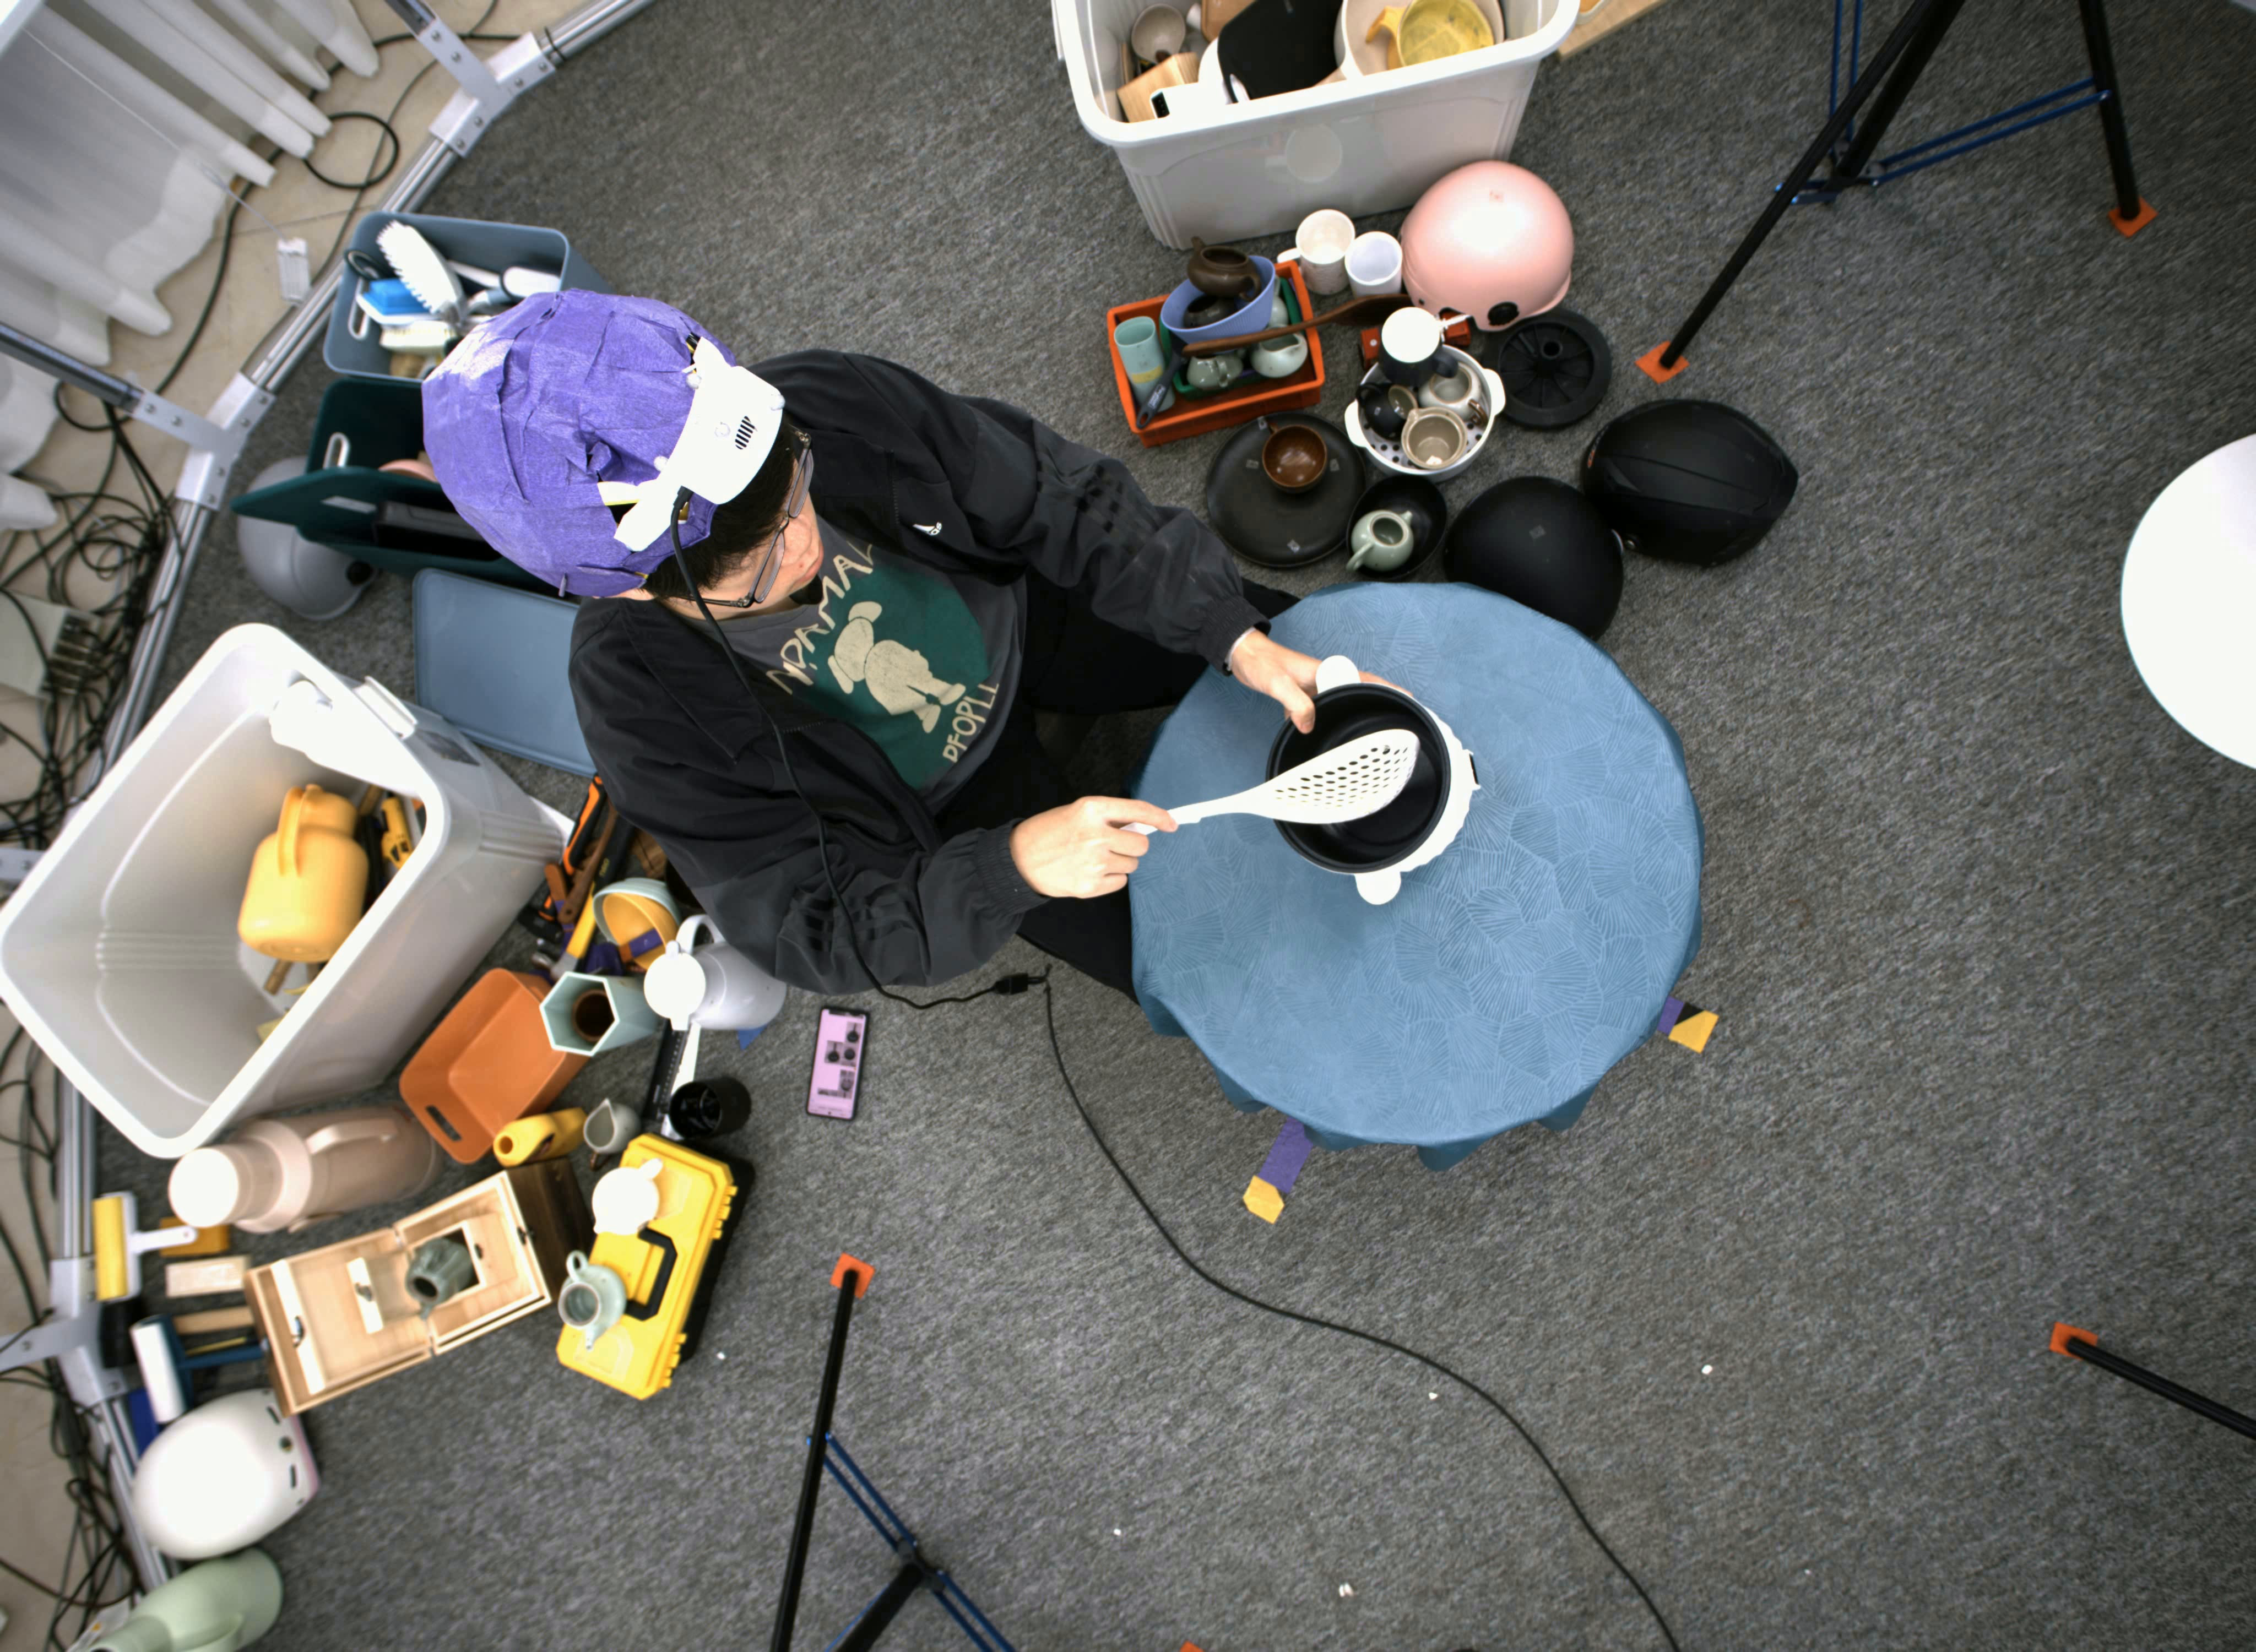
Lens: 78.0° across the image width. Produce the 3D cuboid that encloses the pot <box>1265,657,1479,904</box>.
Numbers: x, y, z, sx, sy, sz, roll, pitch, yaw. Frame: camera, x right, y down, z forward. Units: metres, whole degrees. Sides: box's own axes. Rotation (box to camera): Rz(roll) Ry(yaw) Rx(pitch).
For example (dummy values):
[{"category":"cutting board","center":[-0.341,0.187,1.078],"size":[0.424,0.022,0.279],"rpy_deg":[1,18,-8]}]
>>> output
[{"category":"pot","center":[0.237,-0.038,1.350],"size":[0.192,0.142,0.238],"rpy_deg":[-14,80,22]}]

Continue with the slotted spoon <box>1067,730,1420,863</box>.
[{"category":"slotted spoon","center":[0.110,-0.016,1.273],"size":[0.347,0.139,0.049],"rpy_deg":[-10,65,-8]}]
